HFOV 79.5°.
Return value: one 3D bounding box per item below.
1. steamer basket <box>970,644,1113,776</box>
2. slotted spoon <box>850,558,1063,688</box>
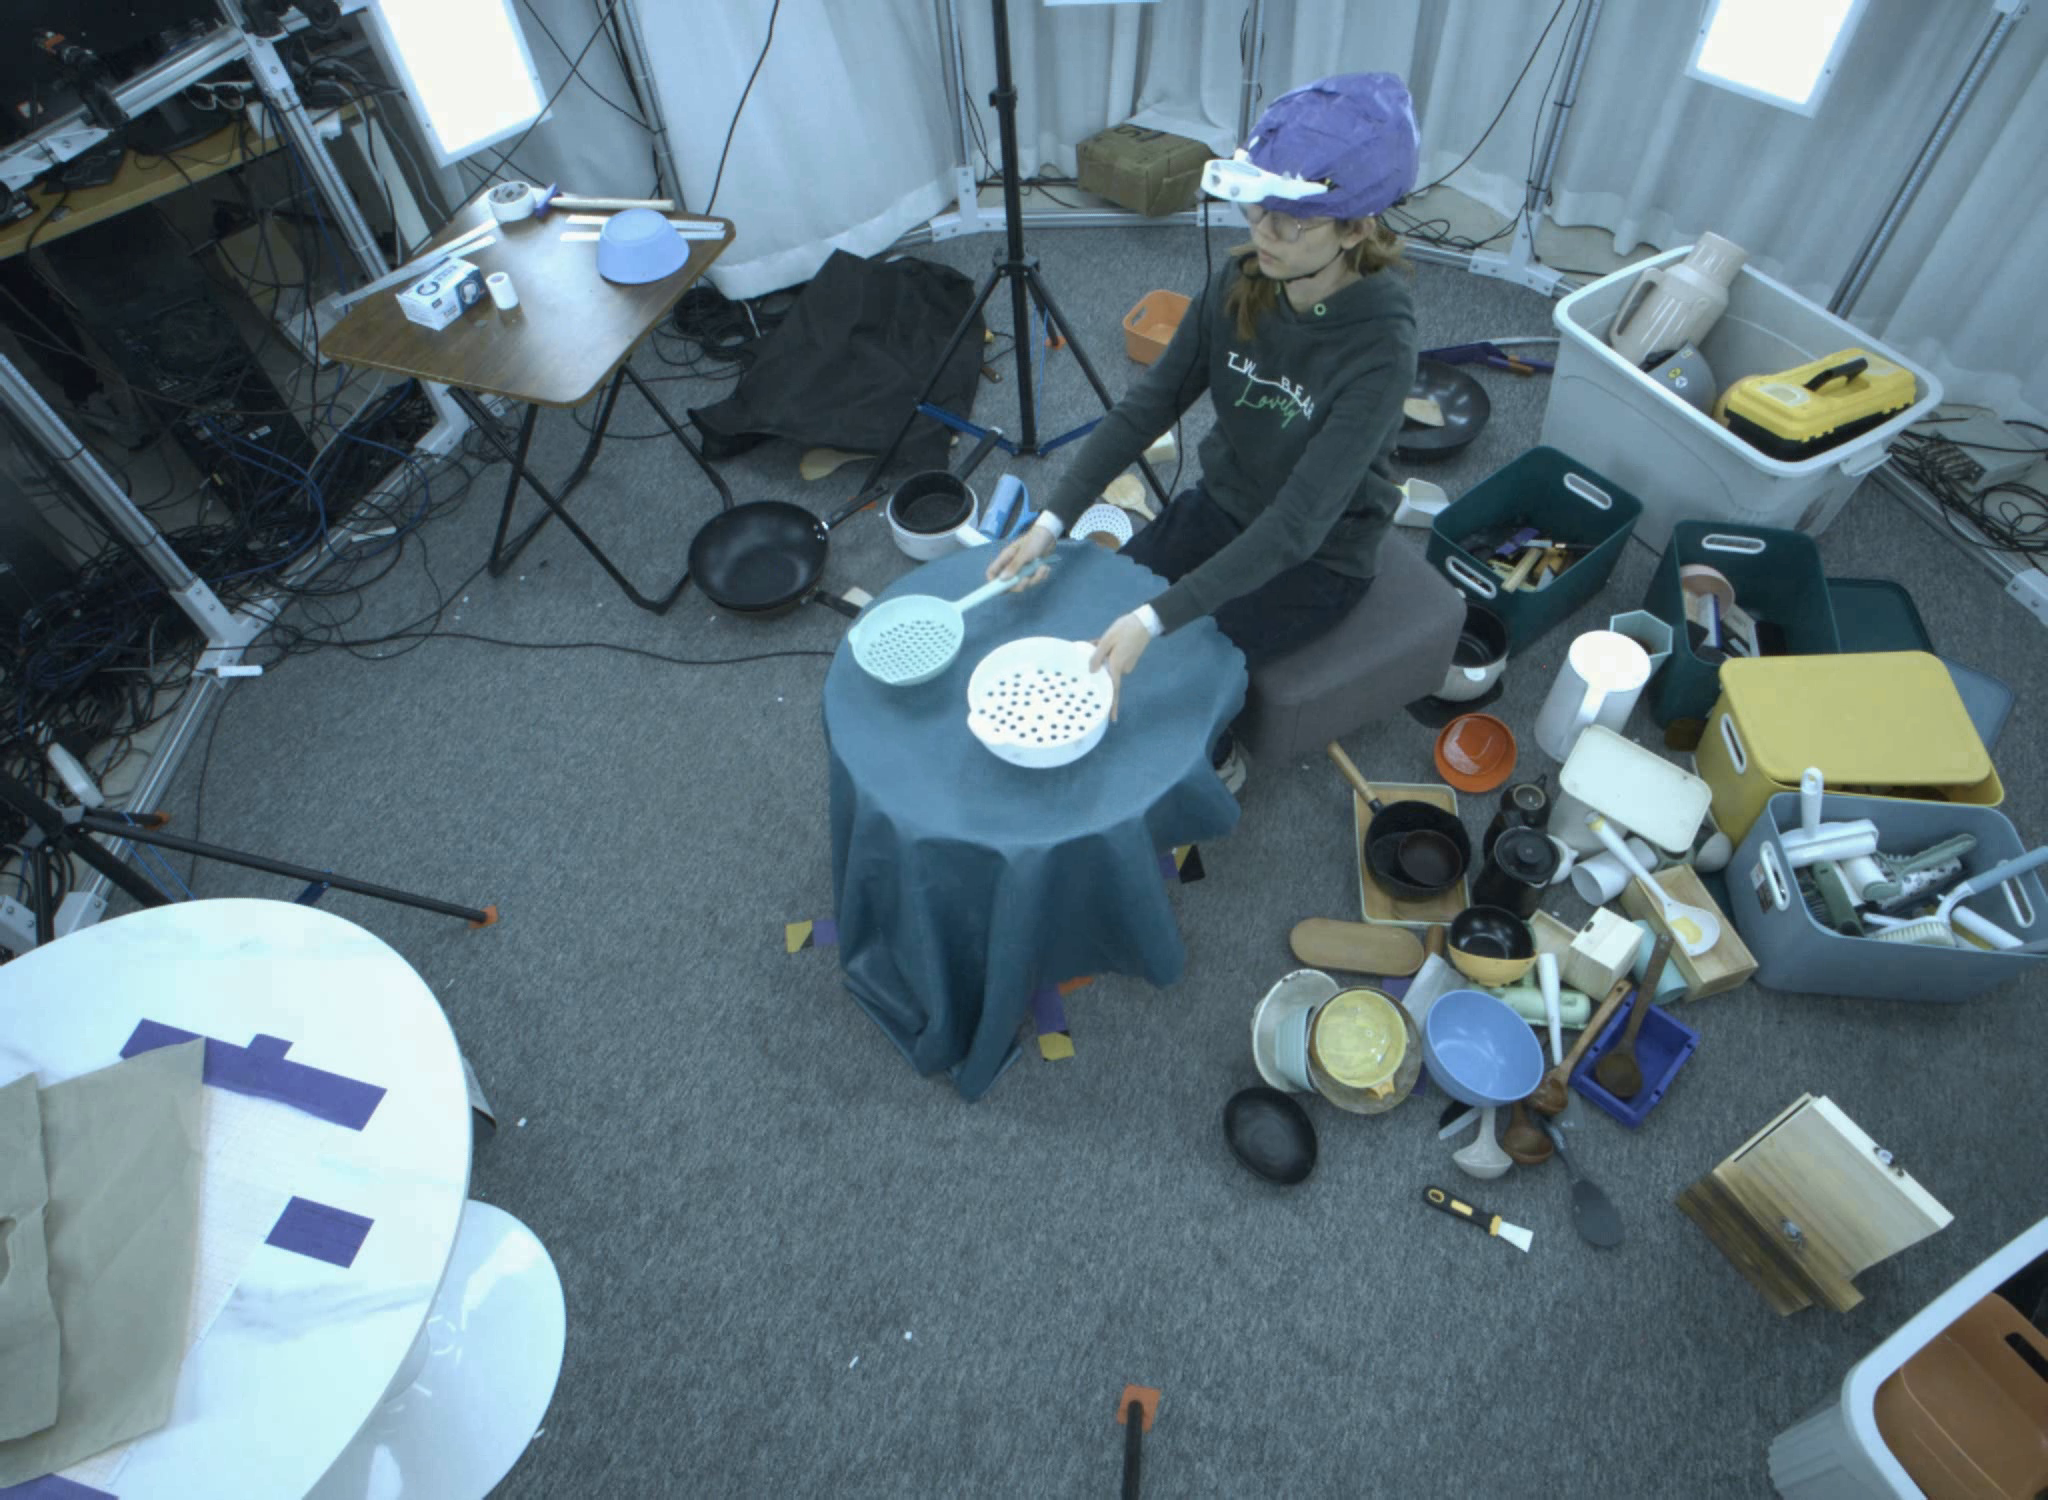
[{"bbox_3d":[0.024,-0.055,1.745,0.232,0.070,0.198,-36,64,-25],"label":"steamer basket"},{"bbox_3d":[-0.092,-0.211,1.873,0.360,0.076,0.166,-37,58,-11],"label":"slotted spoon"}]
